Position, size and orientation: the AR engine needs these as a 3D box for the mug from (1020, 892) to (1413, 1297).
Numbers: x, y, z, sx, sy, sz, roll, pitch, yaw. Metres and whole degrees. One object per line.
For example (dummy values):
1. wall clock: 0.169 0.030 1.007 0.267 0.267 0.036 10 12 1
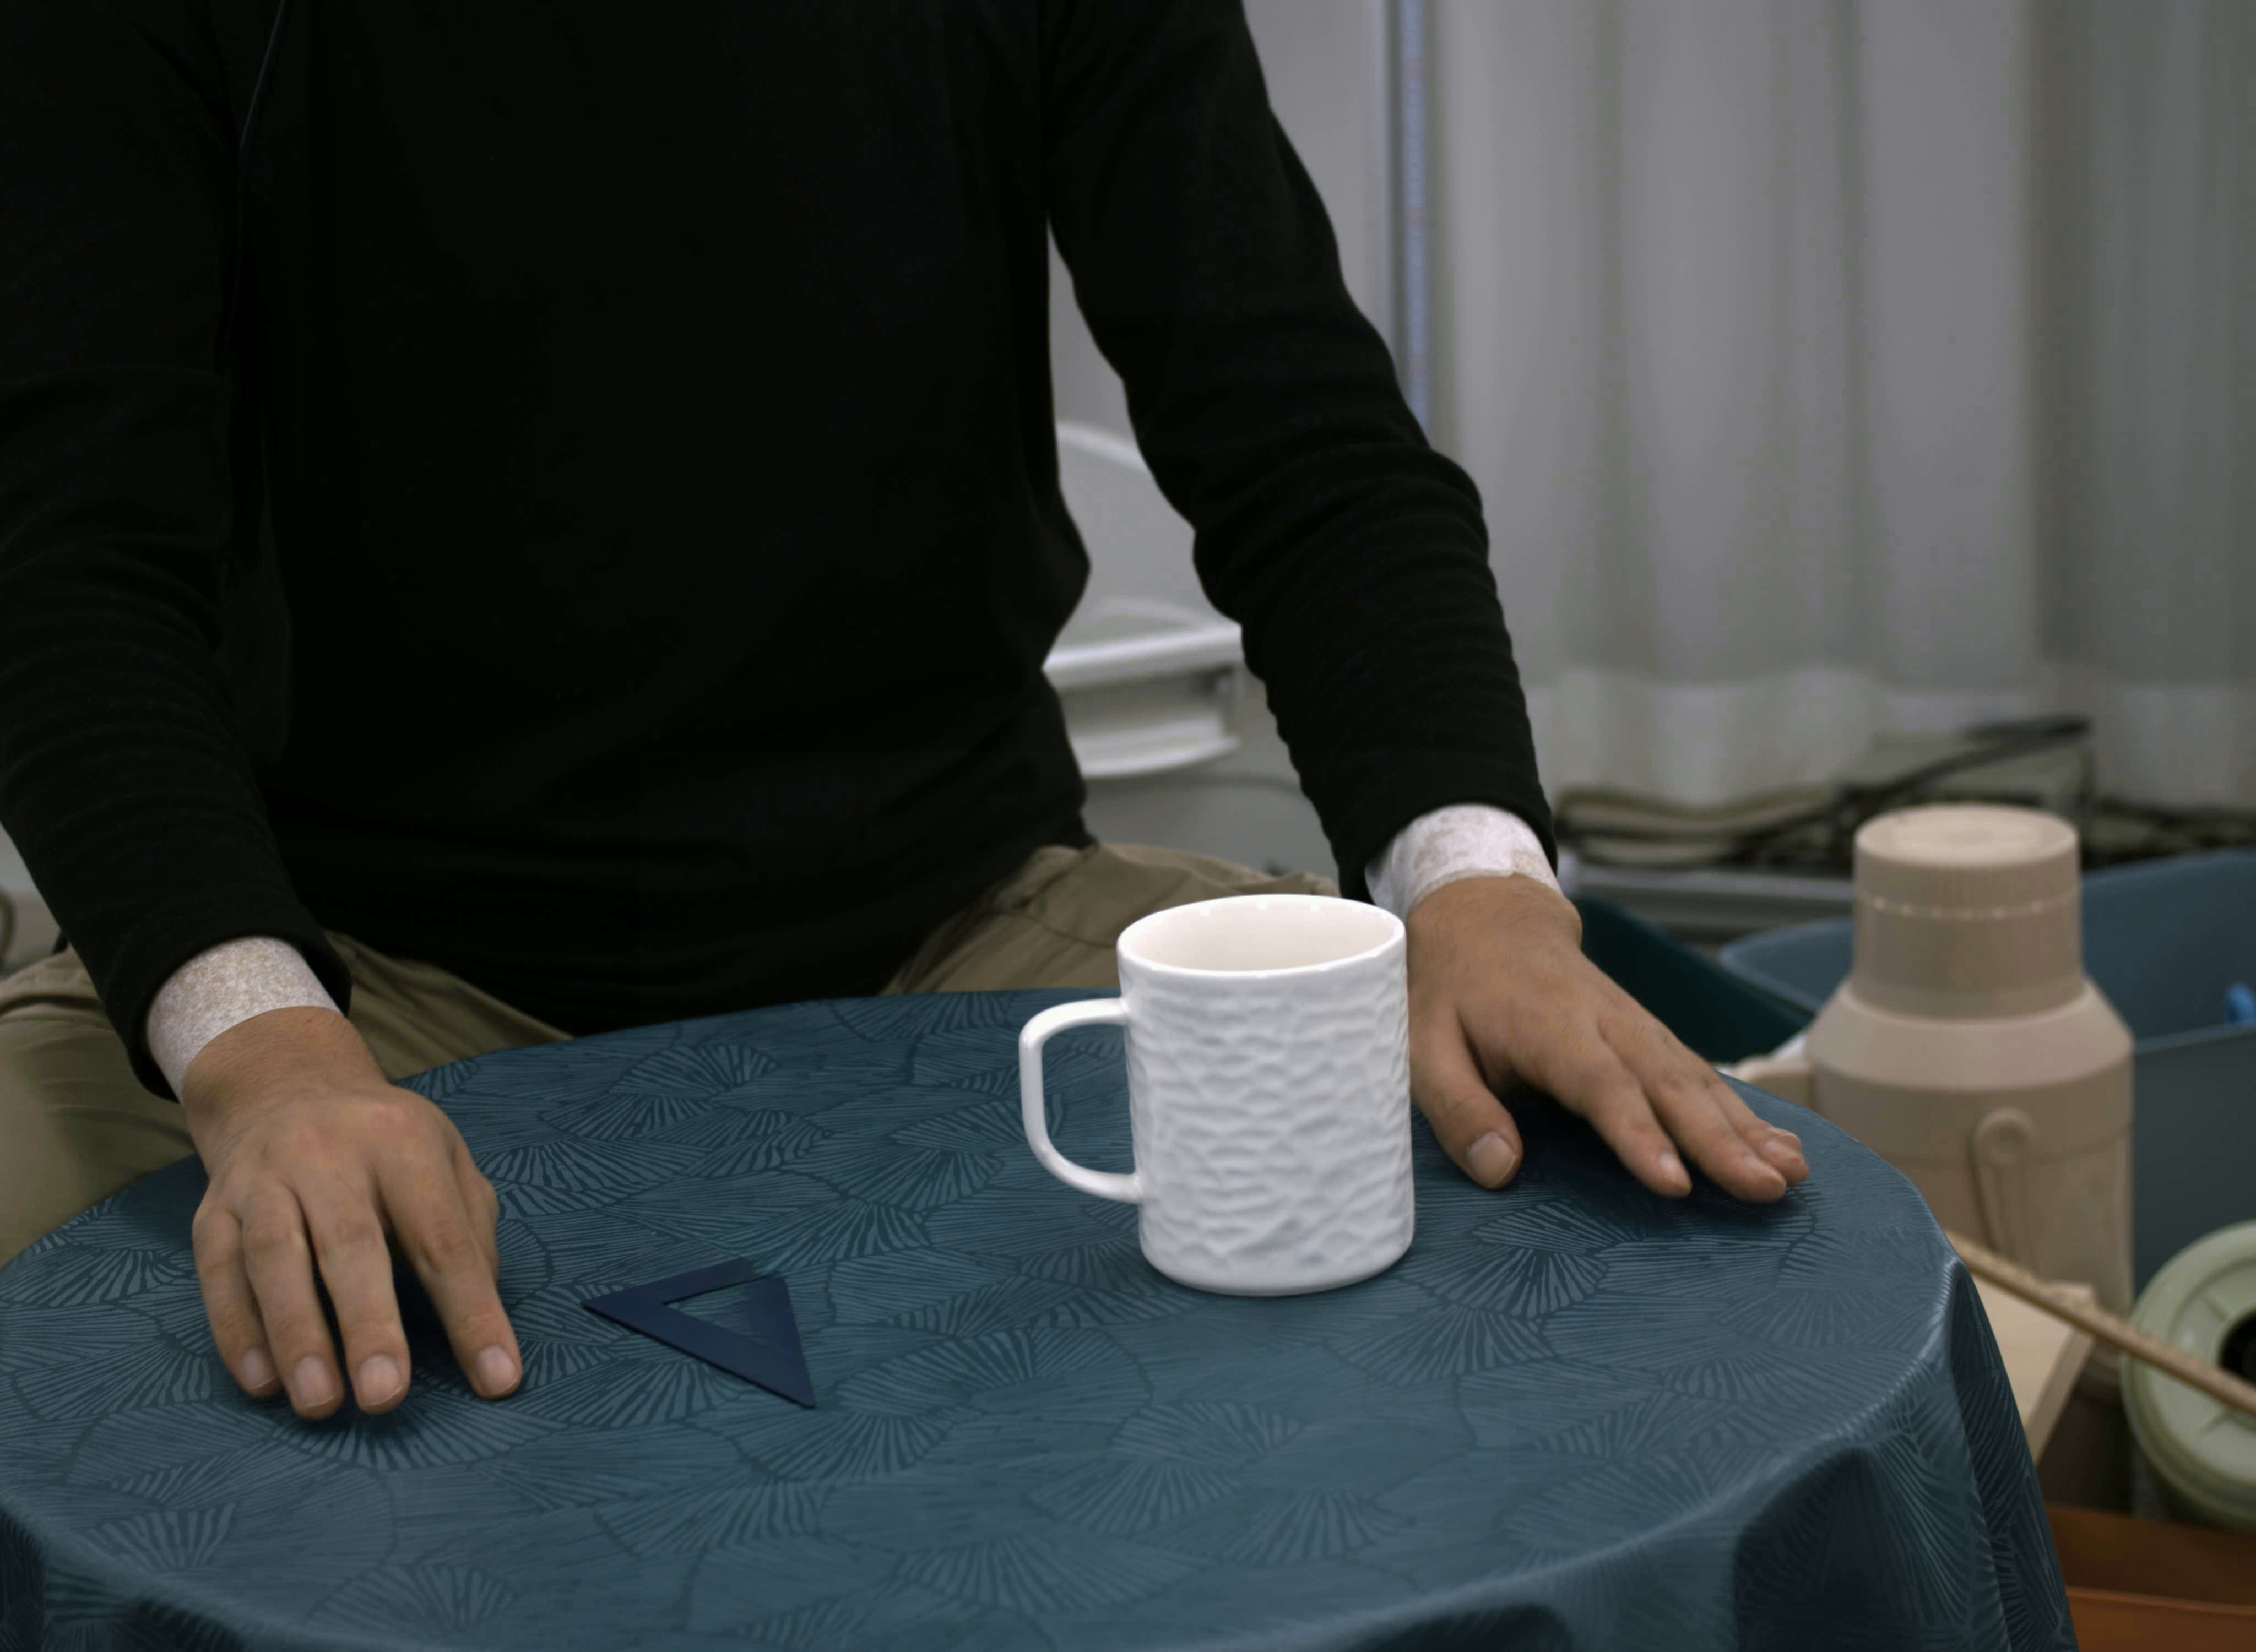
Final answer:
1. mug: 0.027 0.082 1.635 0.118 0.101 0.085 -5 14 -9

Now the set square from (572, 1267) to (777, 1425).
1. set square: -0.133 0.151 1.595 0.061 0.006 0.133 -2 15 -3
